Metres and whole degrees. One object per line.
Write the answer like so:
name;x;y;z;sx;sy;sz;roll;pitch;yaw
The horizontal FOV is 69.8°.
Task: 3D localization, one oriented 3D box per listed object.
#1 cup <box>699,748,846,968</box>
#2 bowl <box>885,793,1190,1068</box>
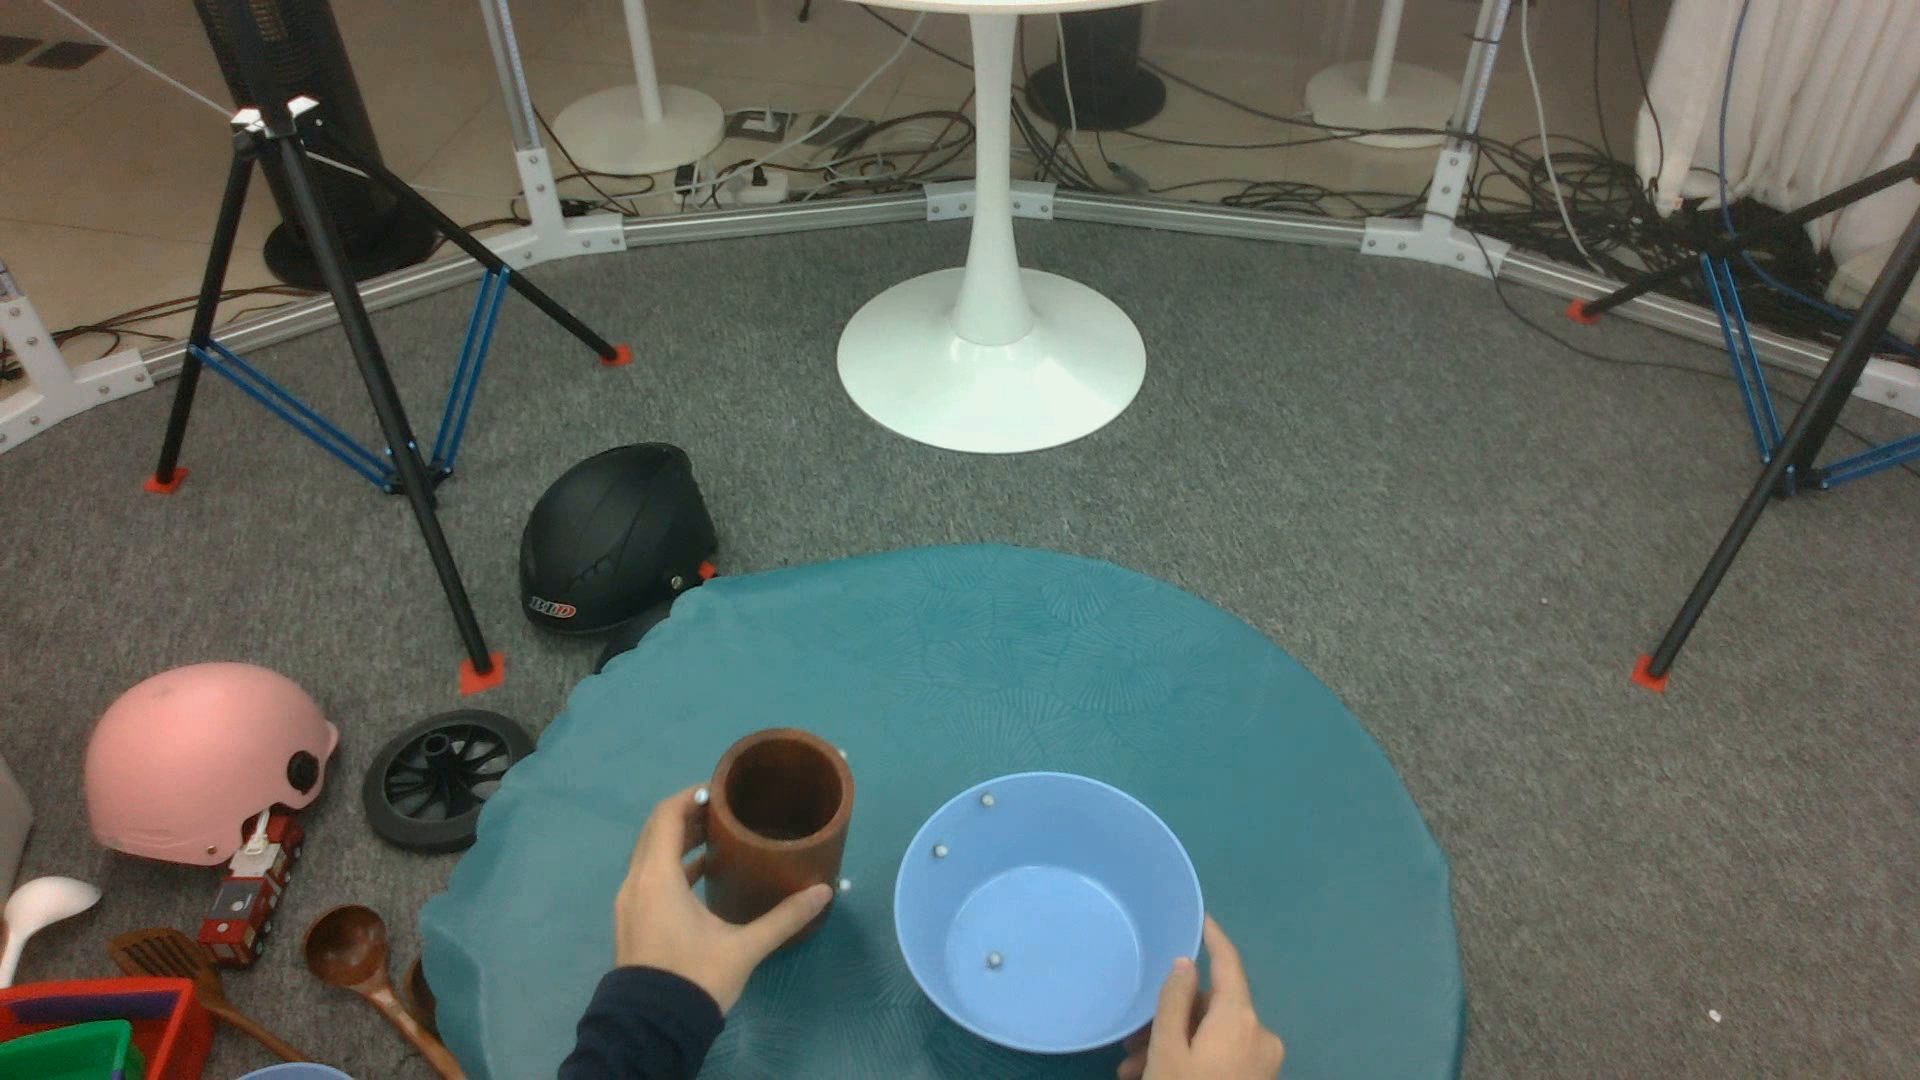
cup;-0.111;0.188;0.810;0.088;0.118;0.088;5;47;-5
bowl;0.045;0.241;0.814;0.176;0.070;0.177;0;44;0
